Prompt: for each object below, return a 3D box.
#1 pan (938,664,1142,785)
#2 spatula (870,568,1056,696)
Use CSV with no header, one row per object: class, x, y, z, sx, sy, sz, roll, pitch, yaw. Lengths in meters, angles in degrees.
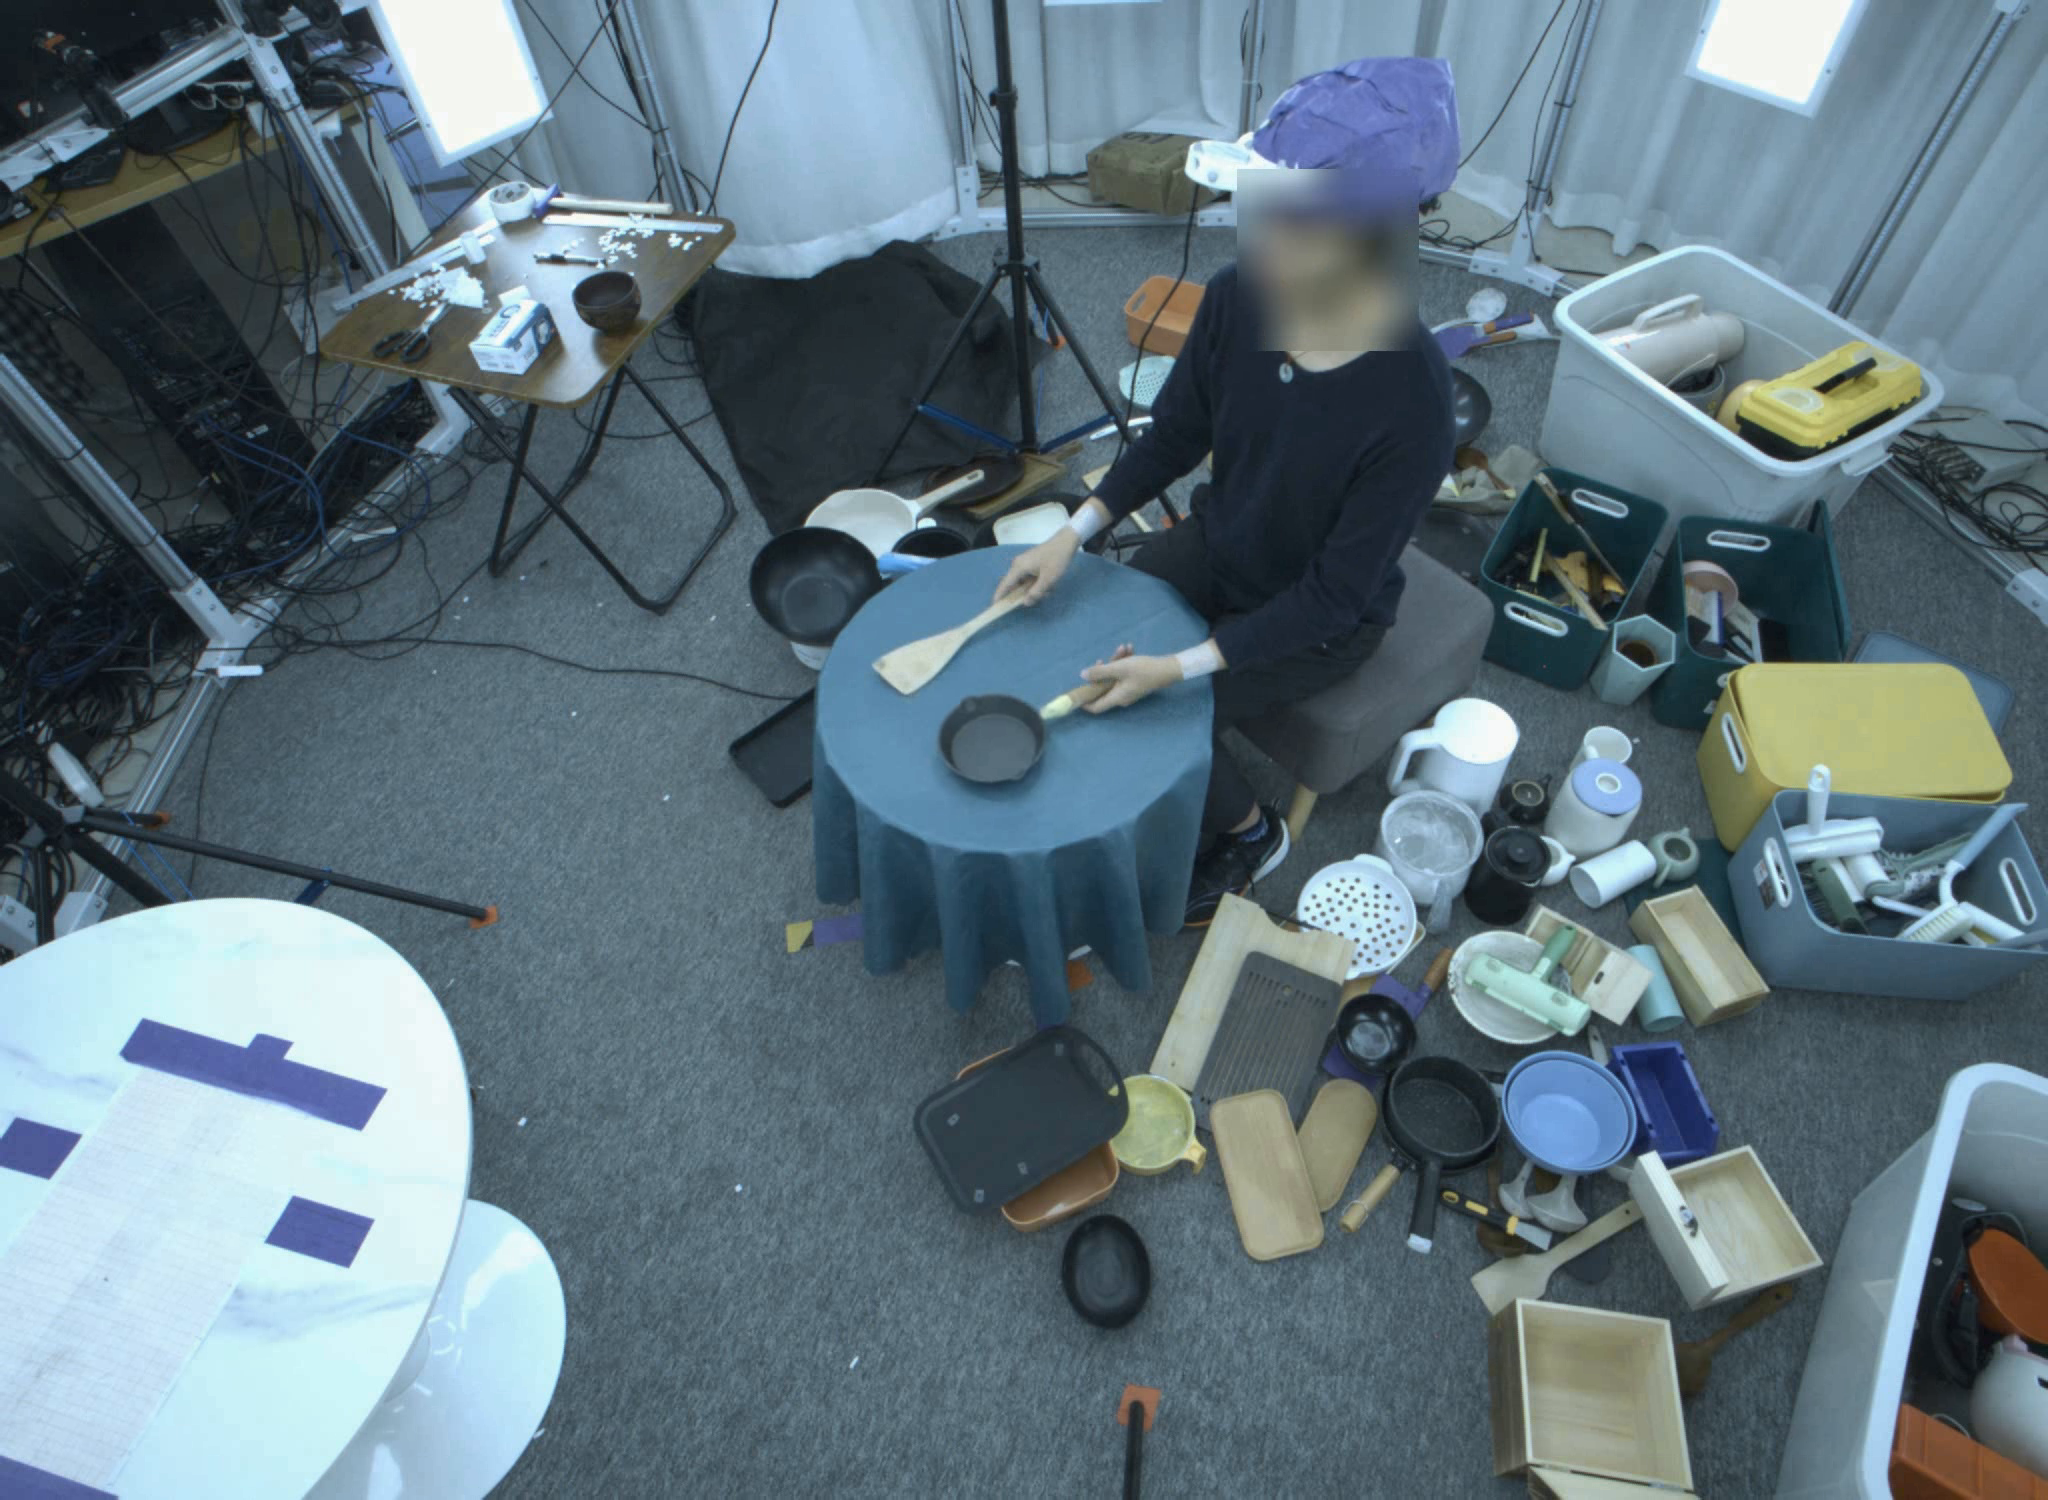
pan,0.030,-0.048,1.789,0.326,0.050,0.166,-24,57,-13
spatula,-0.084,-0.191,1.895,0.329,0.016,0.079,-35,76,-13
